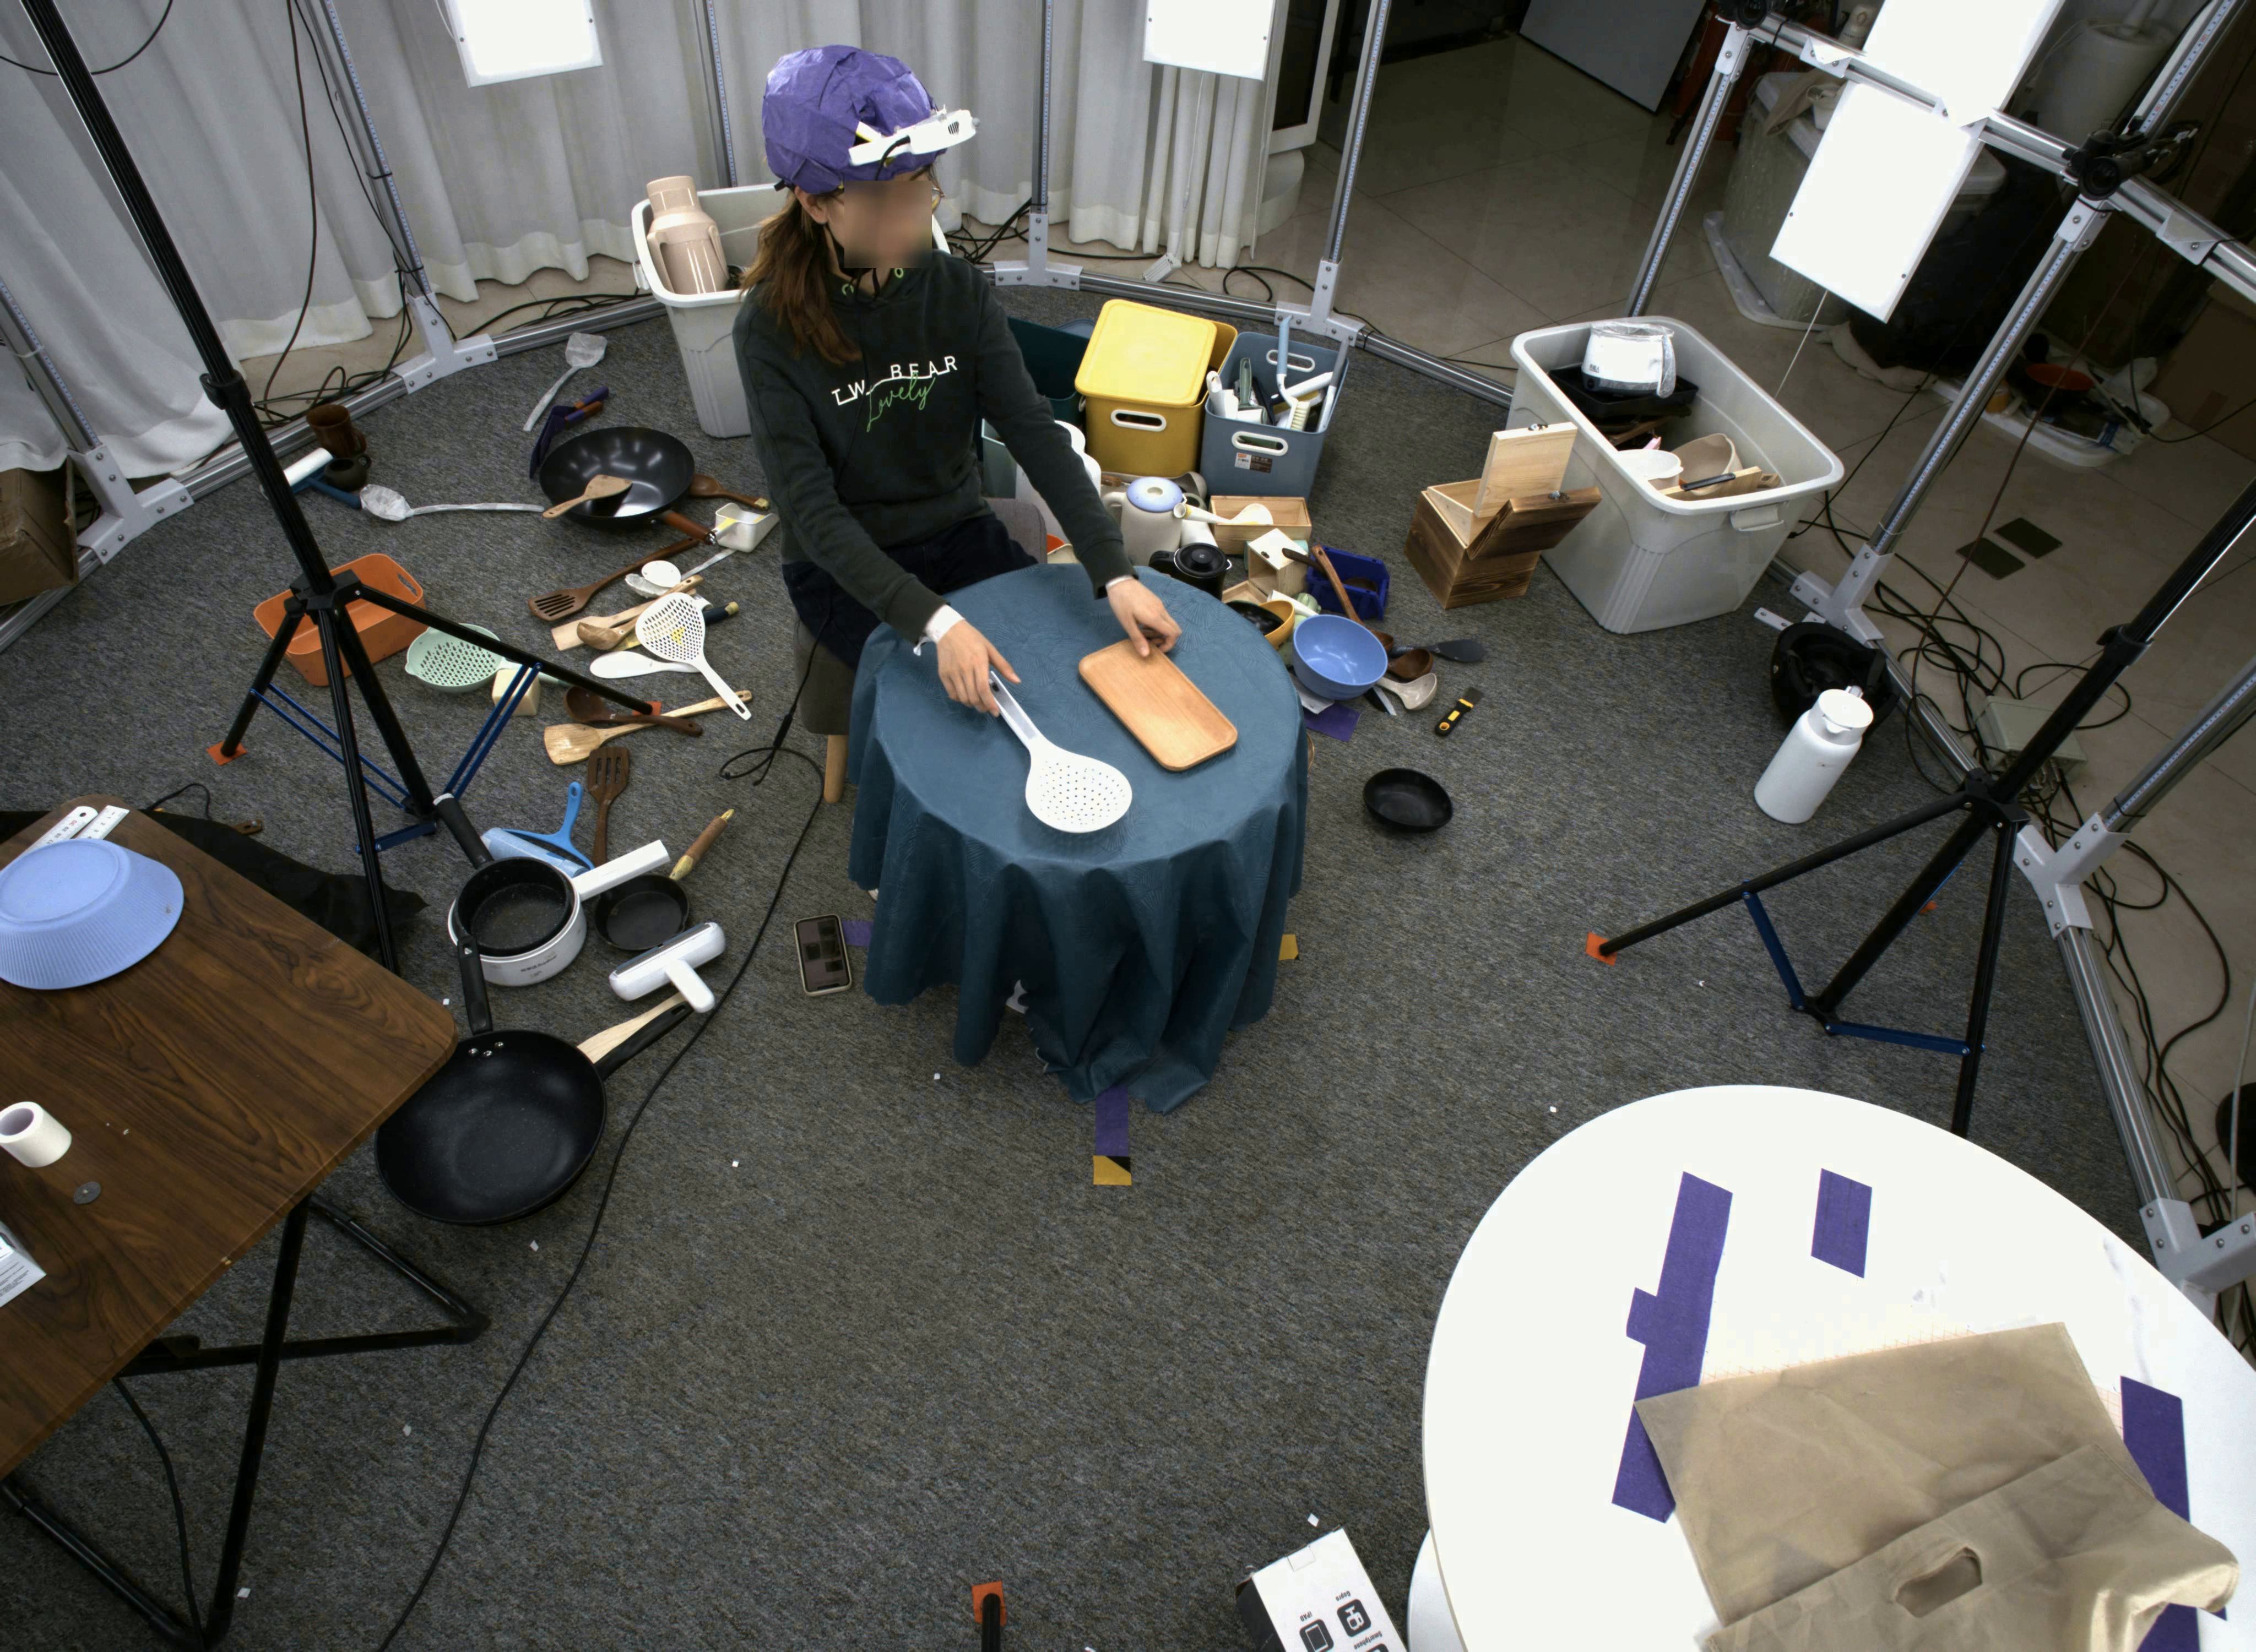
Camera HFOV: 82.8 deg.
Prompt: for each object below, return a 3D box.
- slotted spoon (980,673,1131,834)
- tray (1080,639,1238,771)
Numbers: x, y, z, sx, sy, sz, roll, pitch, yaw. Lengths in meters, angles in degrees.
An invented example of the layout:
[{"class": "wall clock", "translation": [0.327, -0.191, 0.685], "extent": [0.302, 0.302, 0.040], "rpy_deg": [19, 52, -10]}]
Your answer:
[{"class": "slotted spoon", "translation": [-0.117, -0.103, 1.737], "extent": [0.136, 0.044, 0.357], "rpy_deg": [-19, 52, -22]}, {"class": "tray", "translation": [0.041, -0.175, 1.829], "extent": [0.131, 0.022, 0.256], "rpy_deg": [-24, 53, -25]}]
